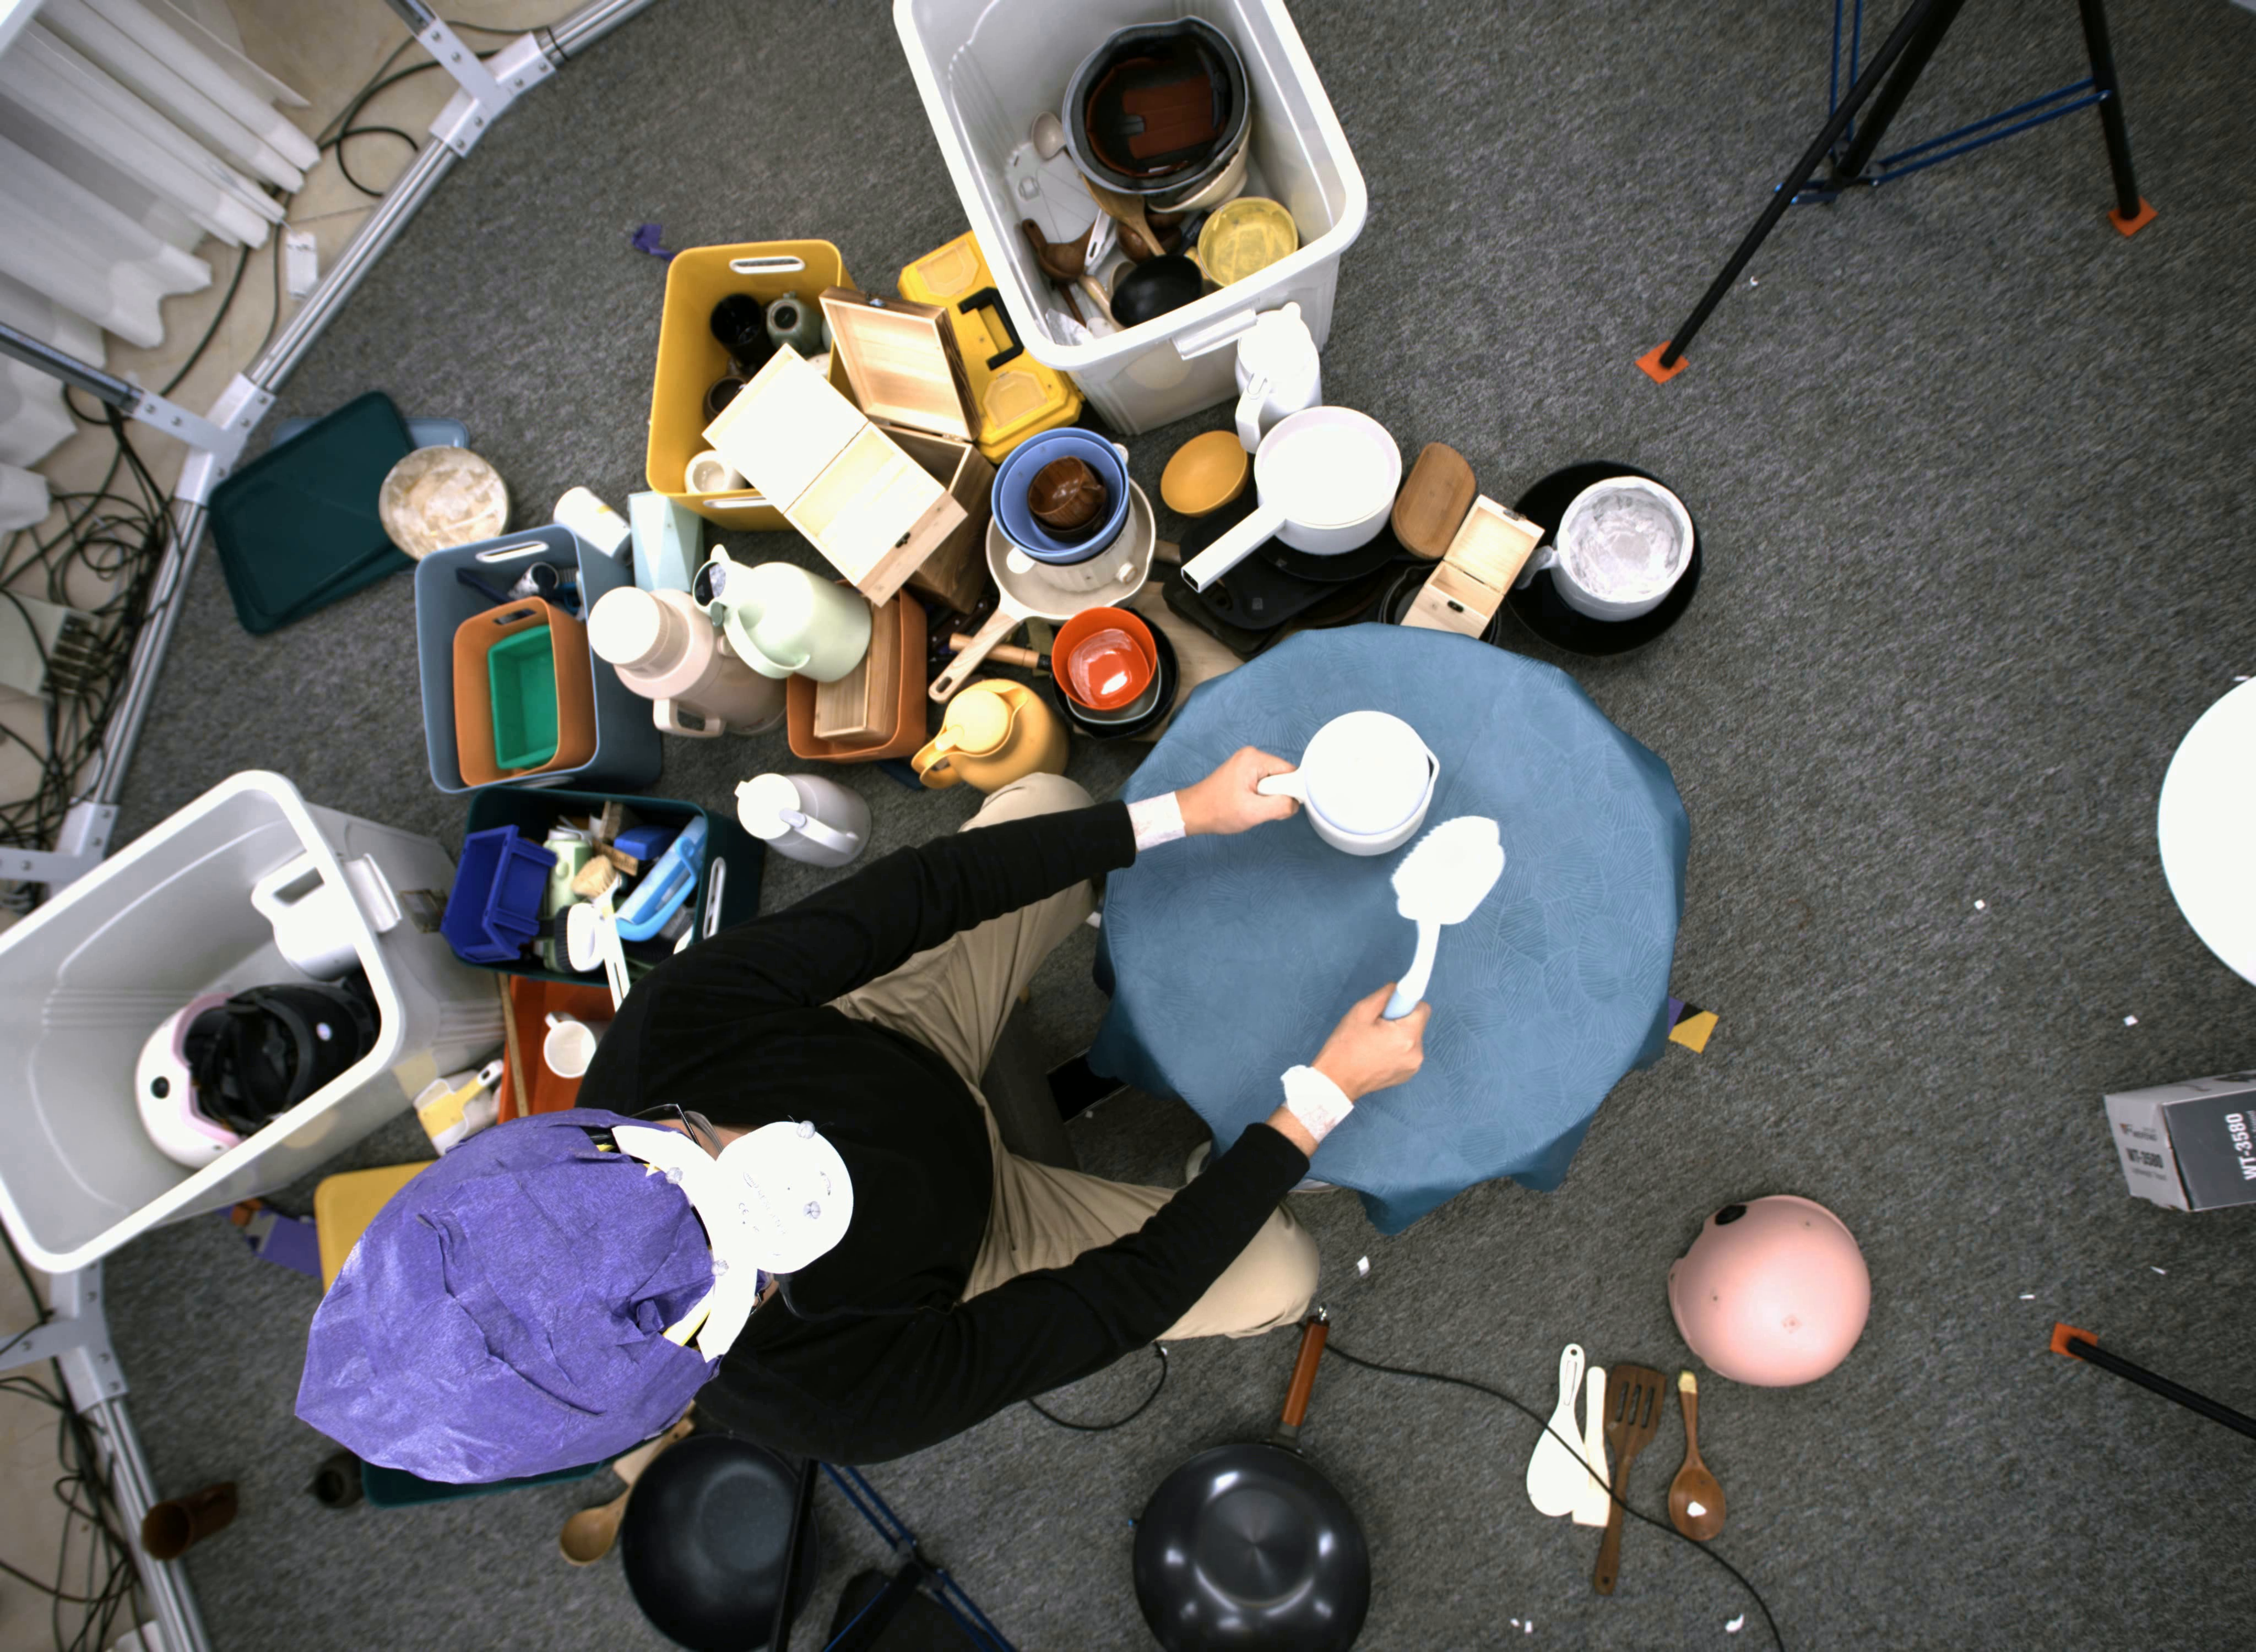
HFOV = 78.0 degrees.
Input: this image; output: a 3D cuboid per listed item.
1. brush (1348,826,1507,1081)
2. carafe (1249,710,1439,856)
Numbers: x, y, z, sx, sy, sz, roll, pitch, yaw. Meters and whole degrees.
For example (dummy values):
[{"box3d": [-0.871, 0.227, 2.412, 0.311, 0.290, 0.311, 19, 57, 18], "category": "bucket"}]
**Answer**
[{"box3d": [0.273, 0.116, 1.336, 0.083, 0.082, 0.334, 34, 132, 16], "category": "brush"}, {"box3d": [0.215, -0.039, 1.389, 0.192, 0.183, 0.131, -8, 83, 10], "category": "carafe"}]
